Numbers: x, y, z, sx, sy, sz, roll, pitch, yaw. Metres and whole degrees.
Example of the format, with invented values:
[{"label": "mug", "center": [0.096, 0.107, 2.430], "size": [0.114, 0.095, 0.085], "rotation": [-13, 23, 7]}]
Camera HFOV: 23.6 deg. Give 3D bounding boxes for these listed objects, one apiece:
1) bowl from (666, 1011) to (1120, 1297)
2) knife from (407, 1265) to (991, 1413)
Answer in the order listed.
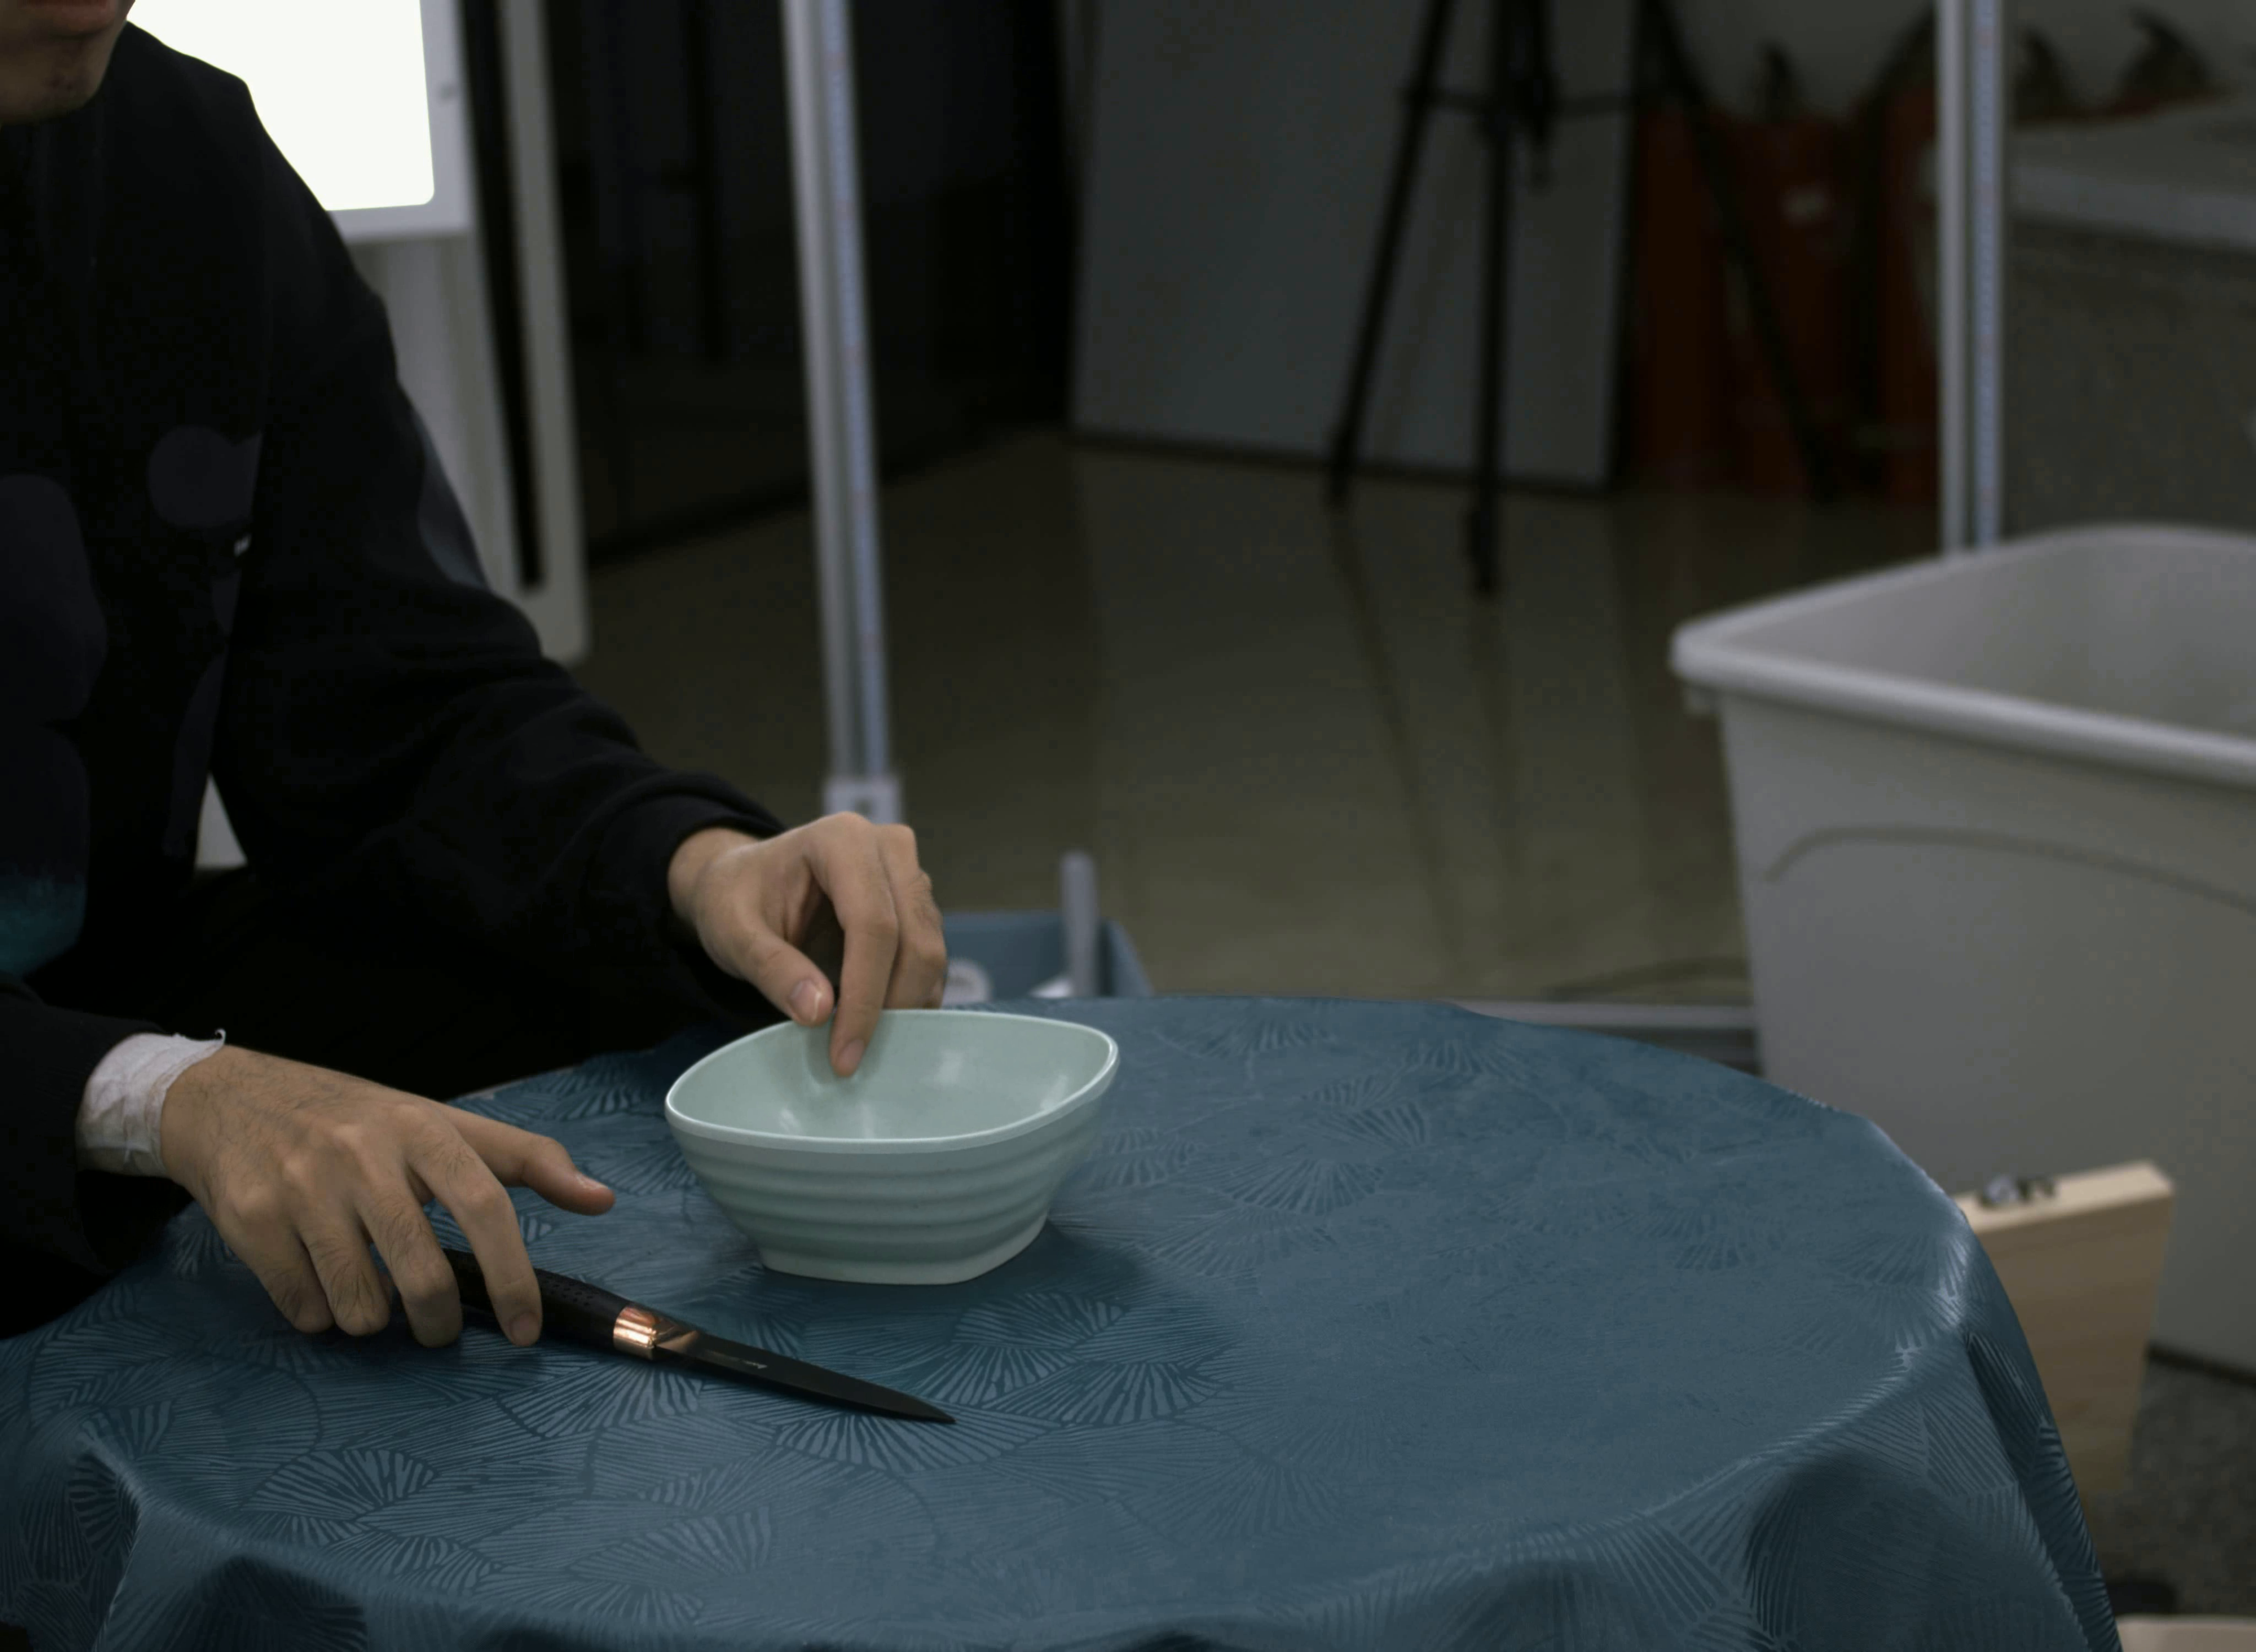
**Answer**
[{"label": "bowl", "center": [-0.072, 0.108, 1.729], "size": [0.149, 0.059, 0.152], "rotation": [-4, 15, 0]}, {"label": "knife", "center": [-0.133, 0.158, 1.640], "size": [0.227, 0.017, 0.026], "rotation": [8, 12, 37]}]
